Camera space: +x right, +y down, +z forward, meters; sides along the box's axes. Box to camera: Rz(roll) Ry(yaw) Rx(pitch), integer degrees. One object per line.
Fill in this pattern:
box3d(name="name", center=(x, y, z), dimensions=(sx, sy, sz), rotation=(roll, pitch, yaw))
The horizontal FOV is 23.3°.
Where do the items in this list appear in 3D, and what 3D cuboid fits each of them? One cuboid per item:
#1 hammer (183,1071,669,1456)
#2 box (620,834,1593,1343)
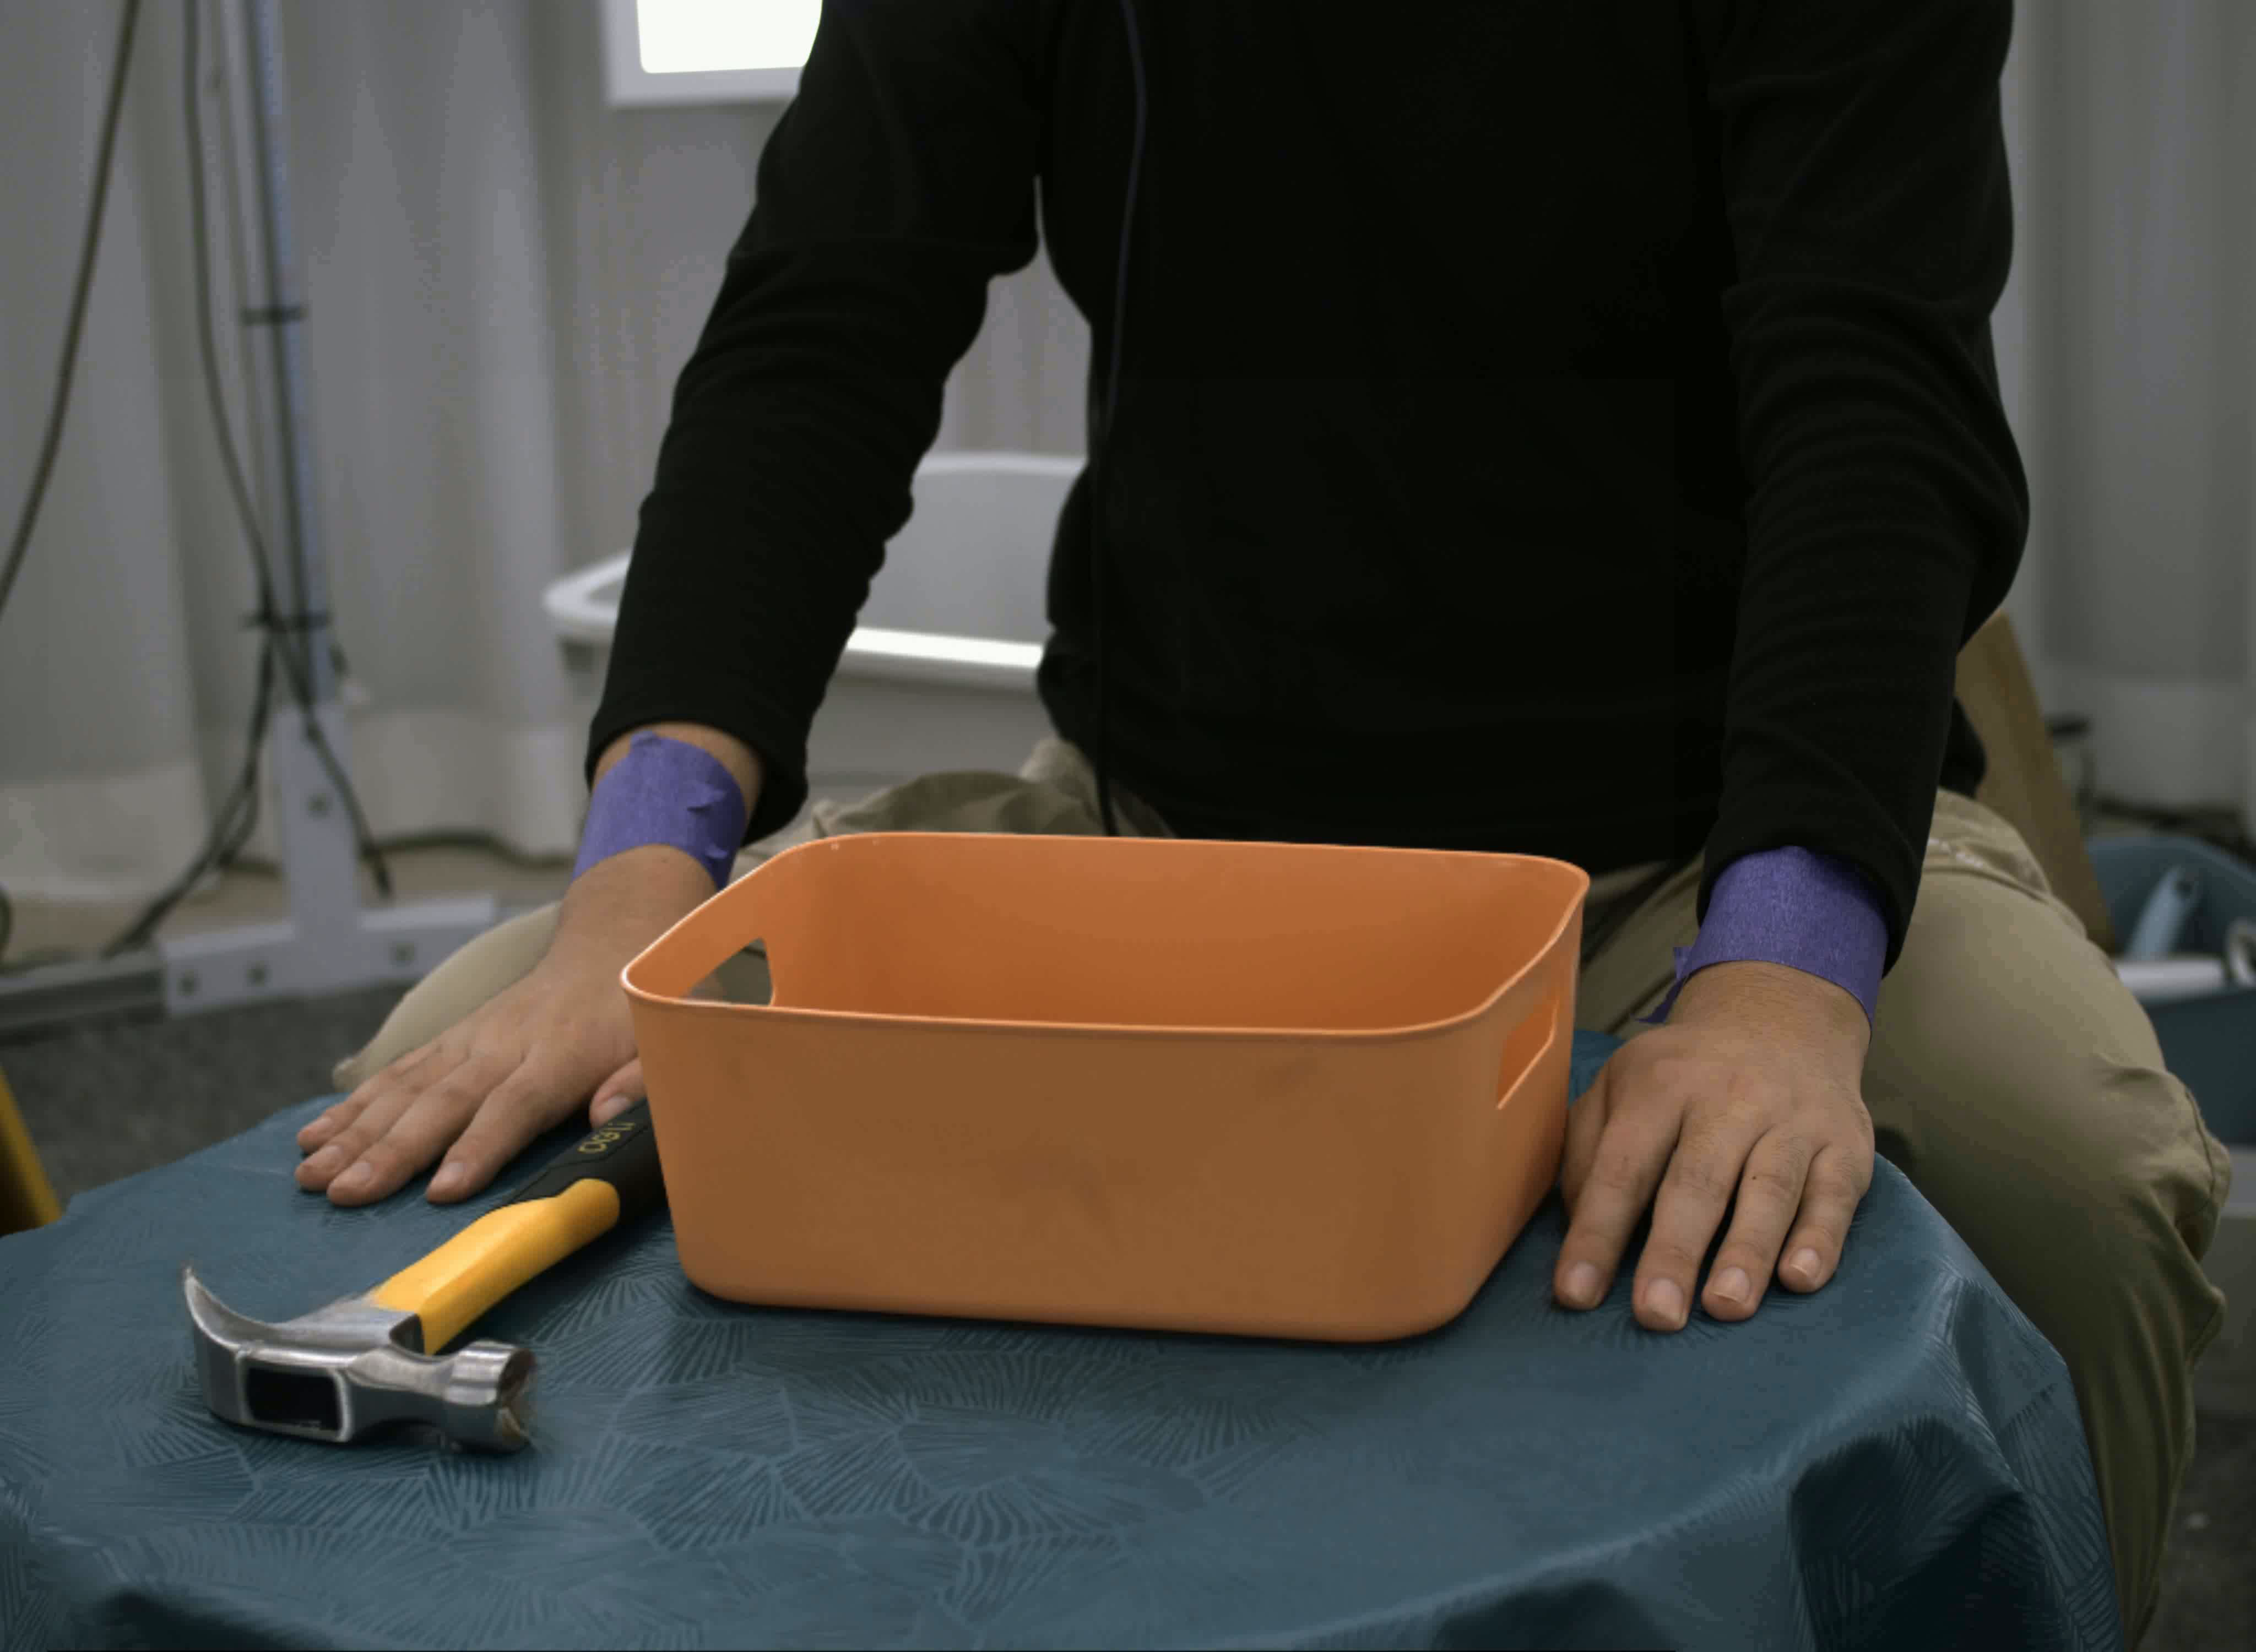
box3d(name="hammer", center=(-0.173, 0.114, 1.680), dimensions=(0.131, 0.032, 0.339), rotation=(3, 17, 22))
box3d(name="box", center=(-0.002, 0.077, 1.658), dimensions=(0.273, 0.102, 0.200), rotation=(2, 15, 17))
